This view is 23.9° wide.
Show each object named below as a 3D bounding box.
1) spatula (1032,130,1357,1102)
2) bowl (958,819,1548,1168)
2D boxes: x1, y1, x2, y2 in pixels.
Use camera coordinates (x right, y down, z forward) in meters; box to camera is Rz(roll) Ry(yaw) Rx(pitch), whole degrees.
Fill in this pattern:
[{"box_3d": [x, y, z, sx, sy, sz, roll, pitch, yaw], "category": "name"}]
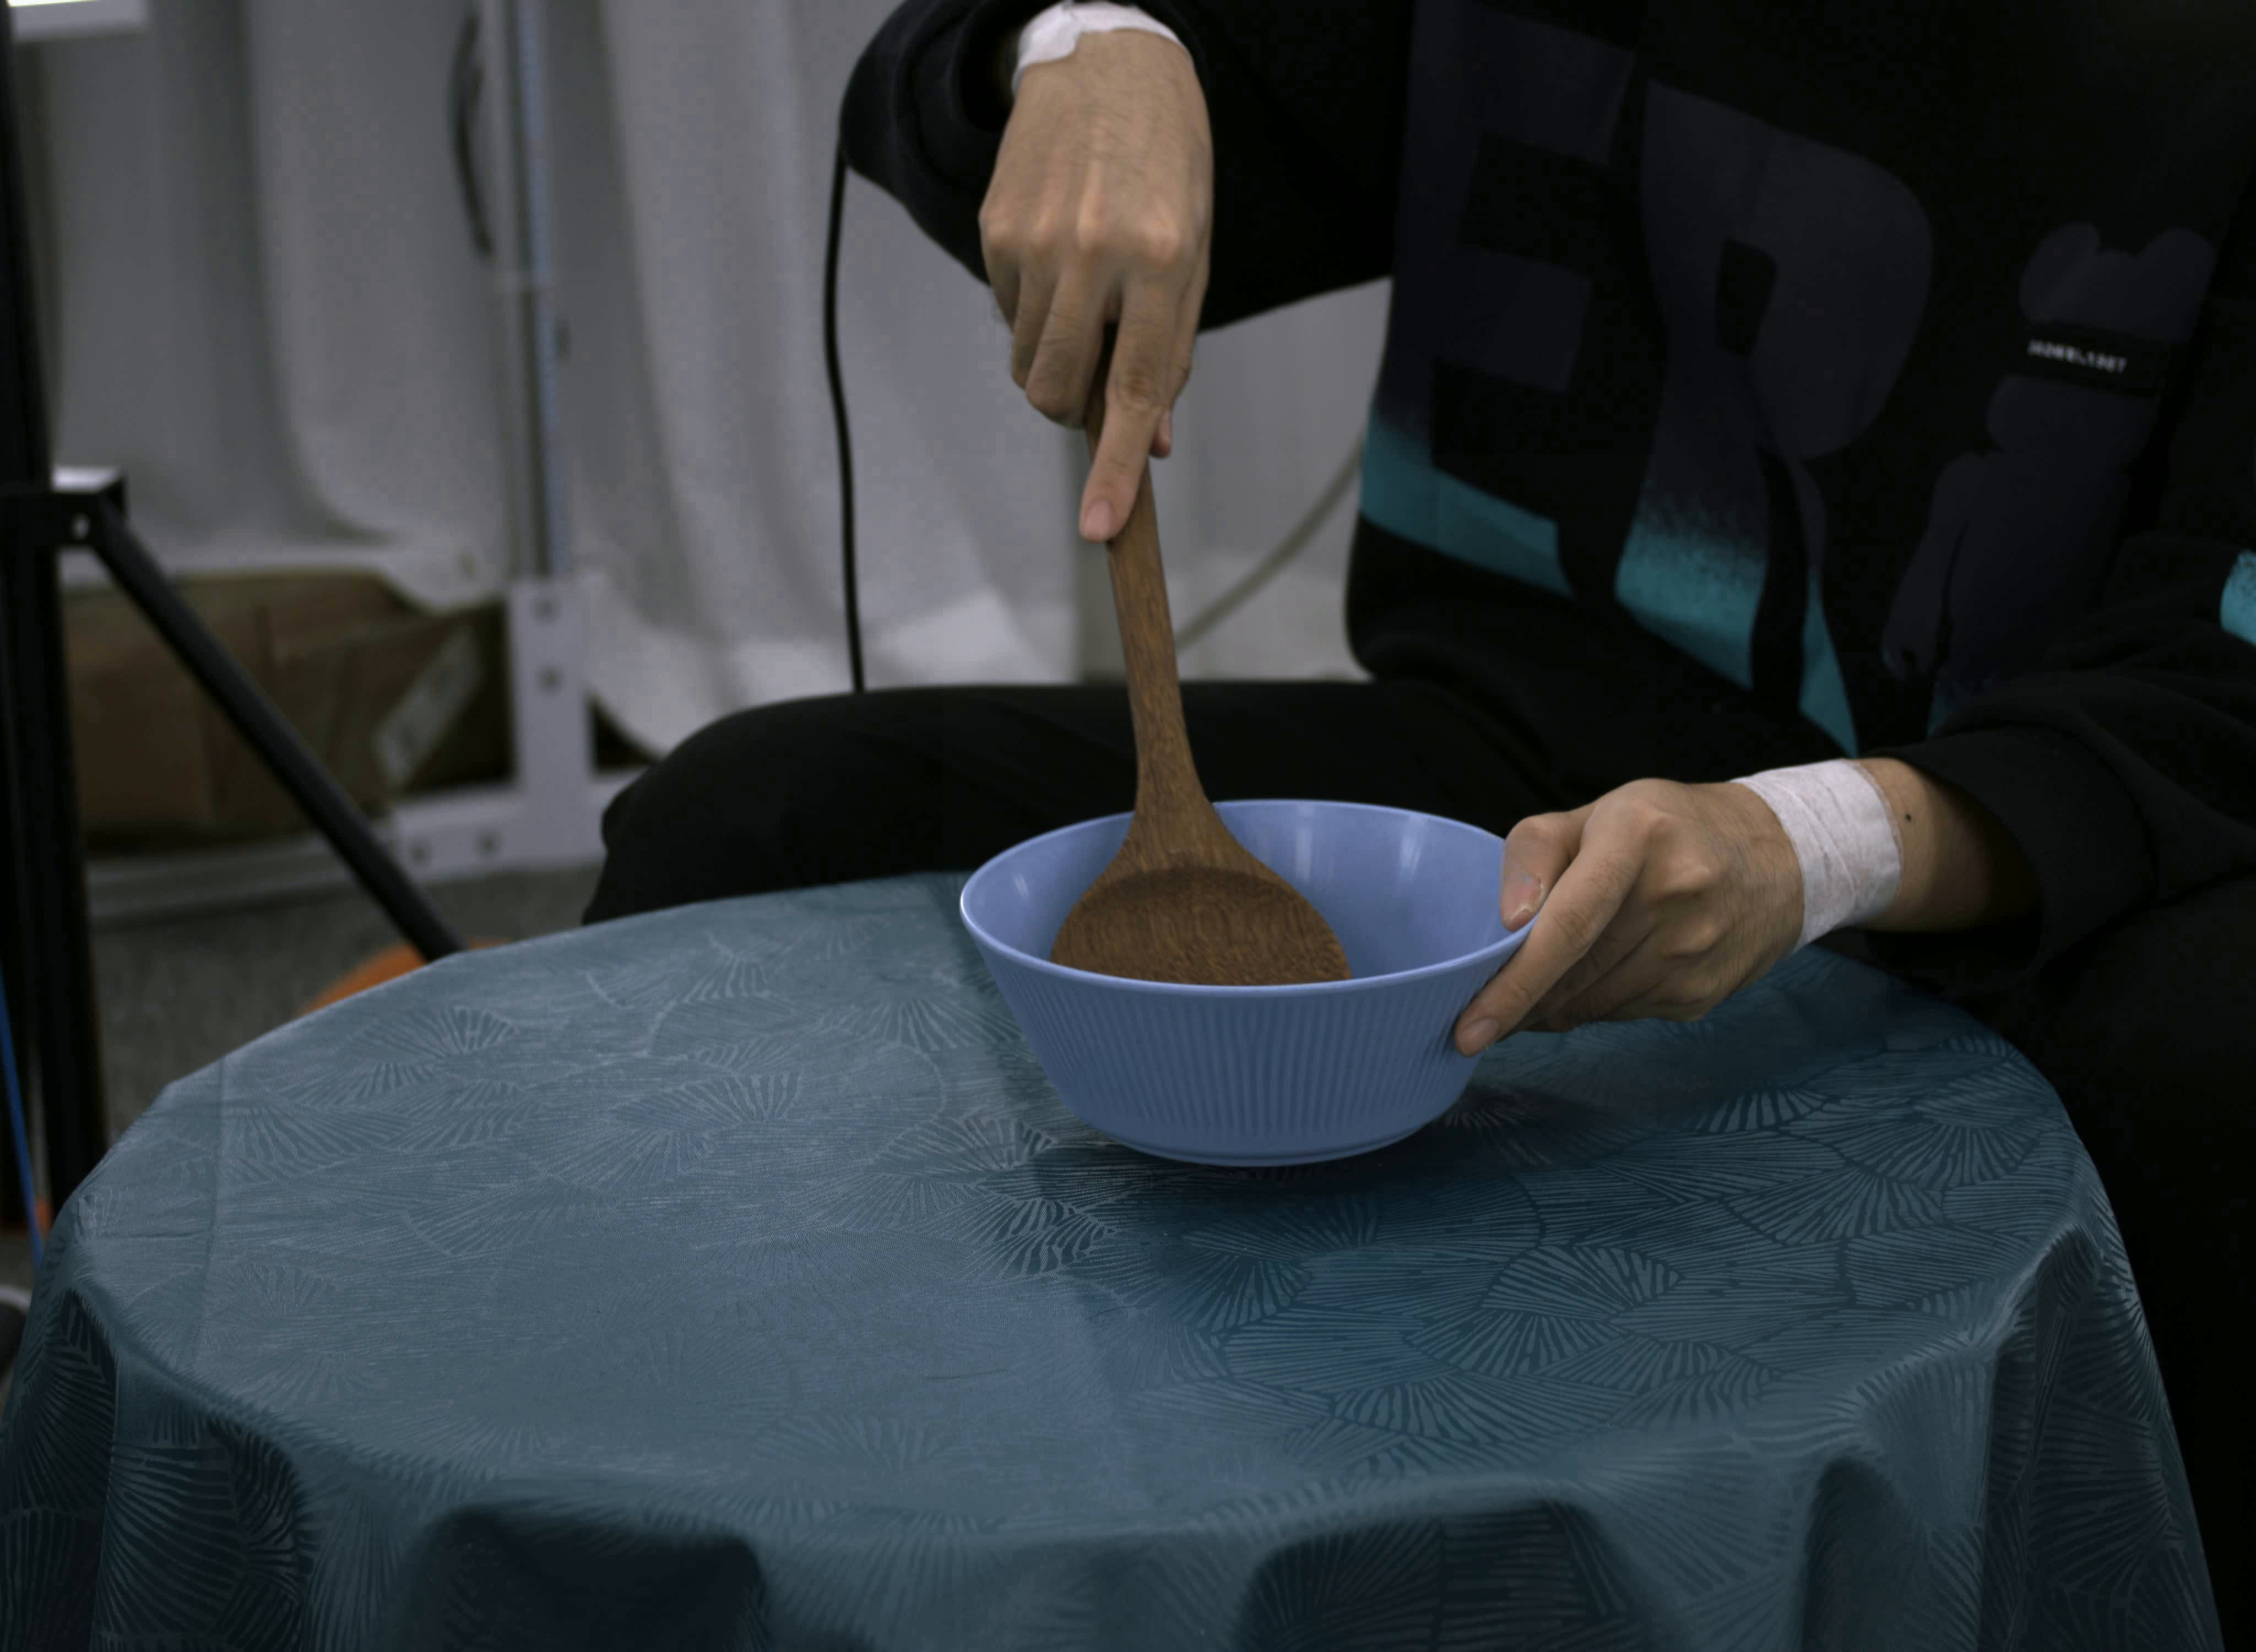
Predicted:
[{"box_3d": [0.005, -0.072, 1.668, 0.095, 0.015, 0.391, -6, 57, -3], "category": "spatula"}, {"box_3d": [0.039, 0.052, 1.580, 0.175, 0.070, 0.177, -5, 16, 0], "category": "bowl"}]
